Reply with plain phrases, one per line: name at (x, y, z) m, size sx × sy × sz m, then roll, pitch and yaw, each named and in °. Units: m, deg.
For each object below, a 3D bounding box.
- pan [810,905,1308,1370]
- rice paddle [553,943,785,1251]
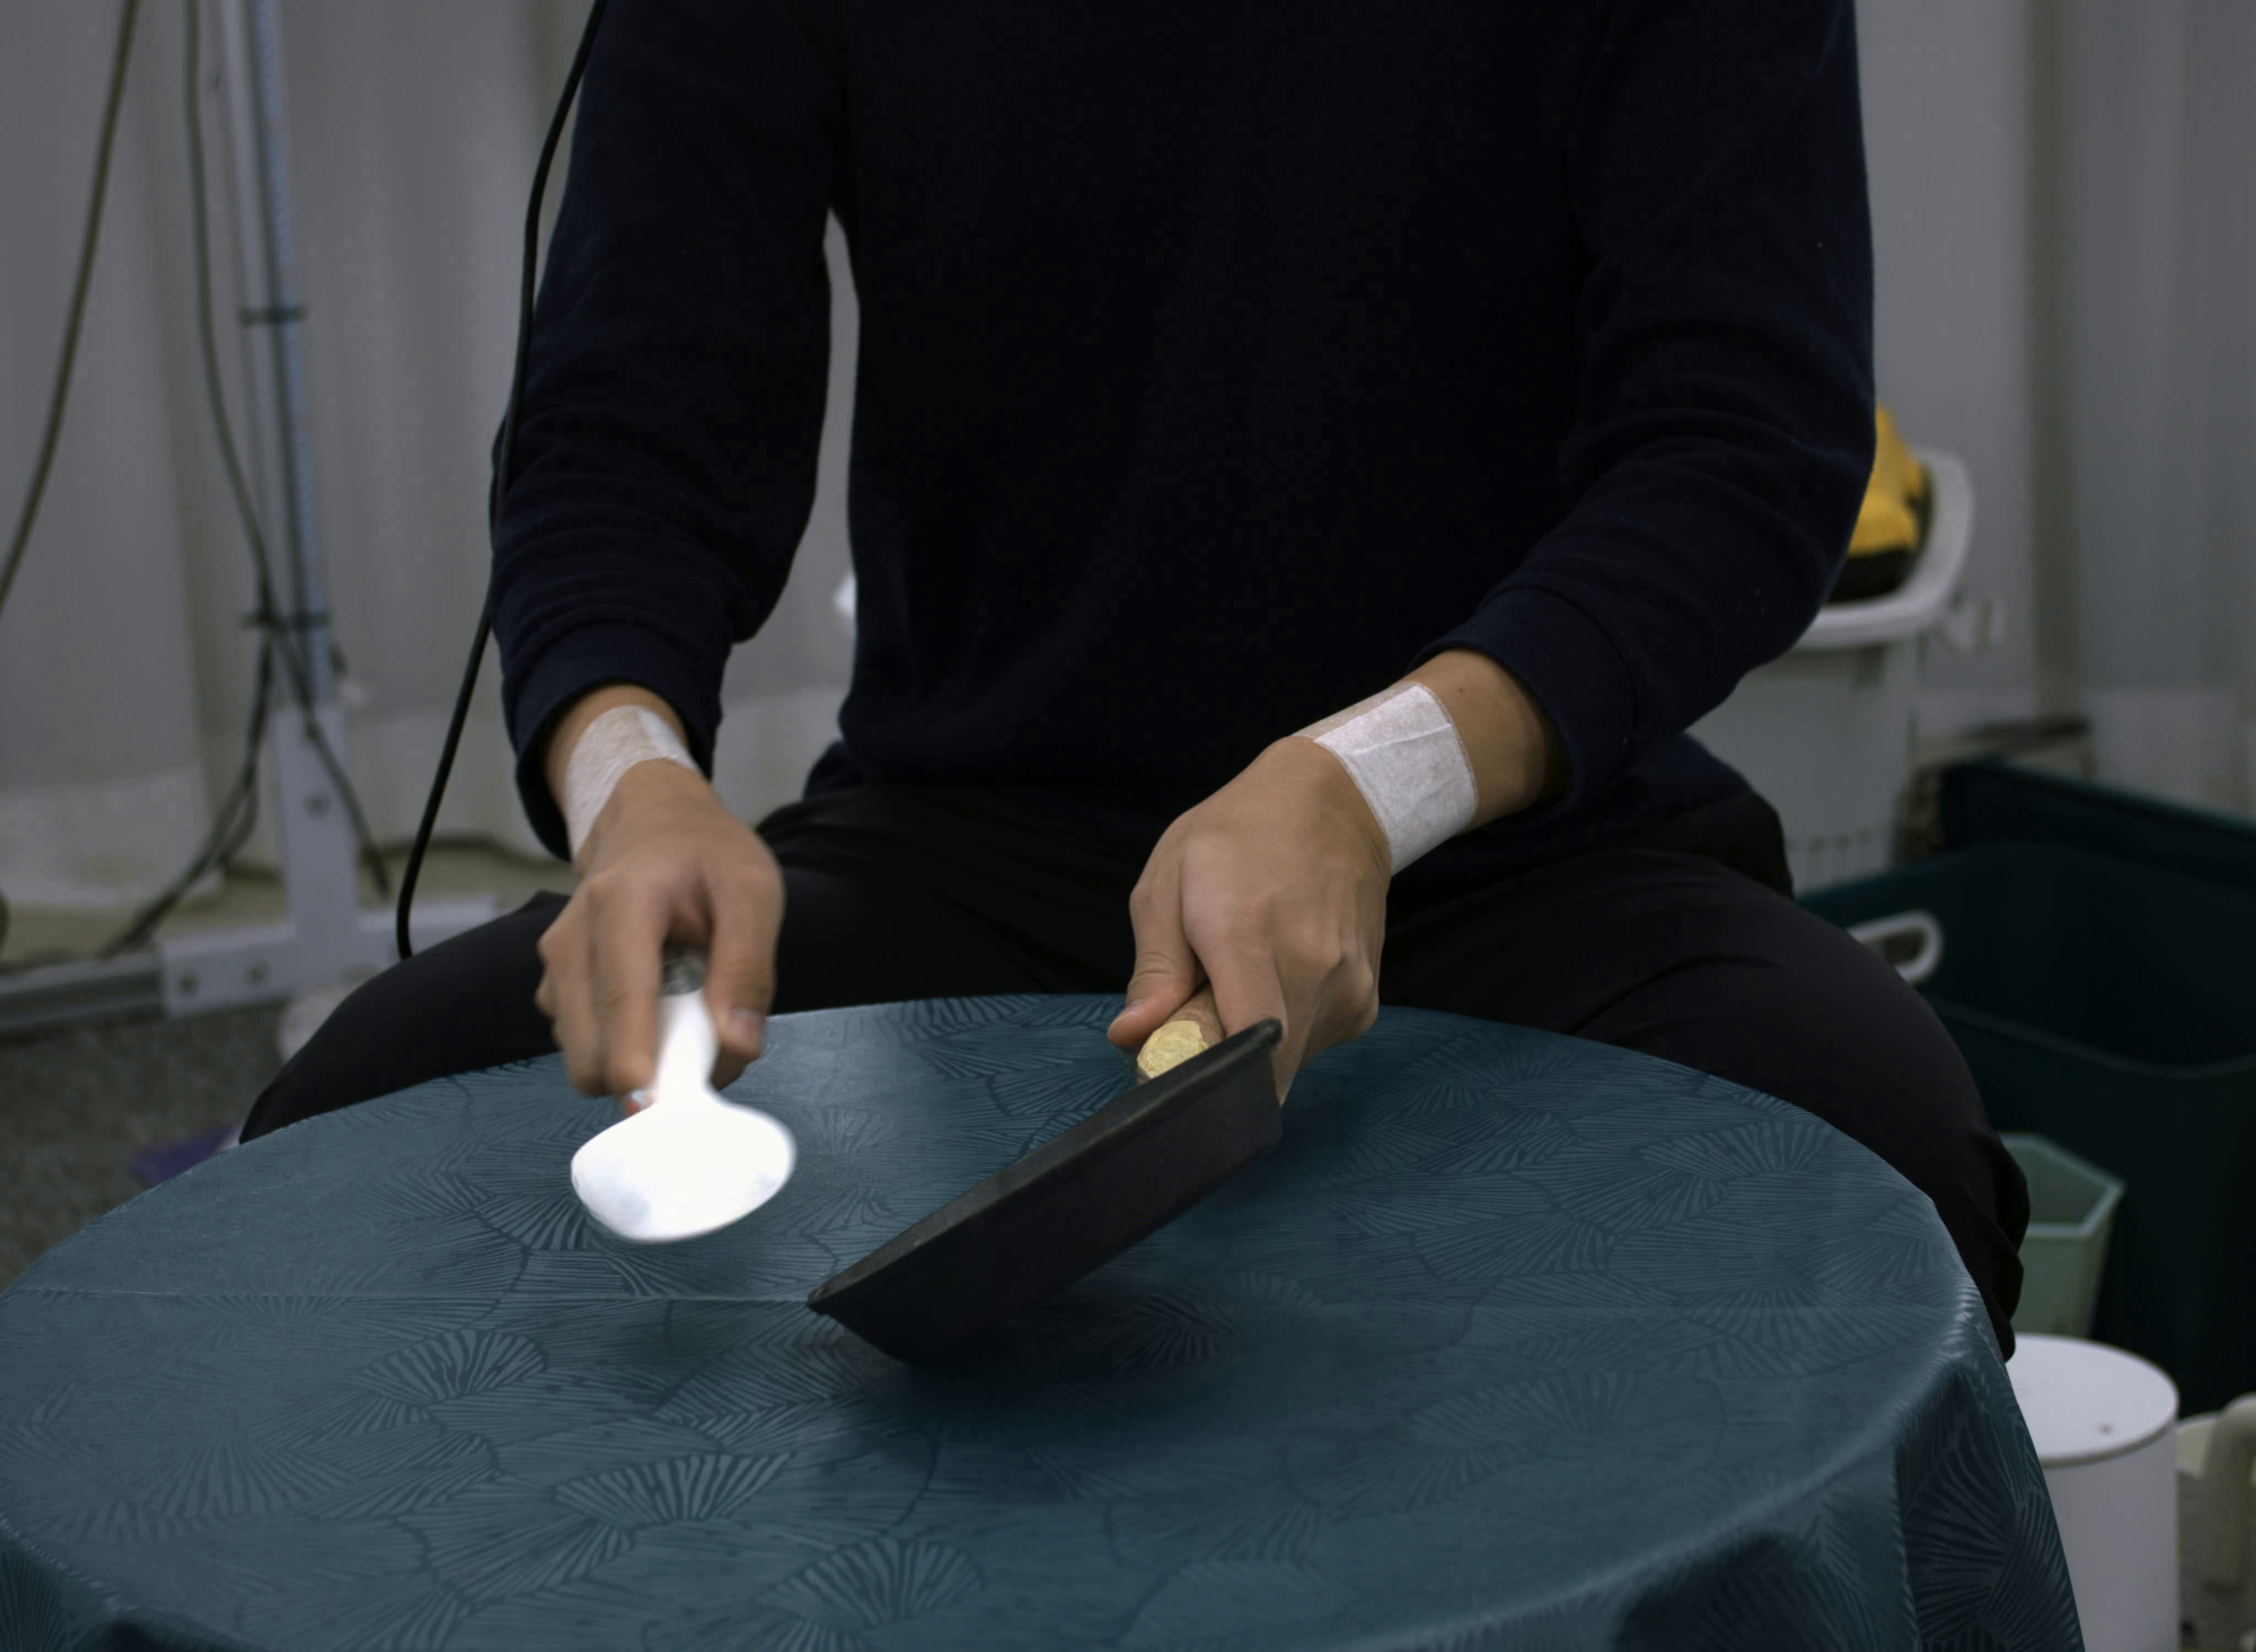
pan at (0.009, 0.084, 1.642) m, size 0.168 × 0.049 × 0.325 m, roll -31°, pitch 1°, yaw 24°
rice paddle at (-0.139, 0.084, 1.656) m, size 0.068 × 0.029 × 0.207 m, roll -8°, pitch 19°, yaw -1°
